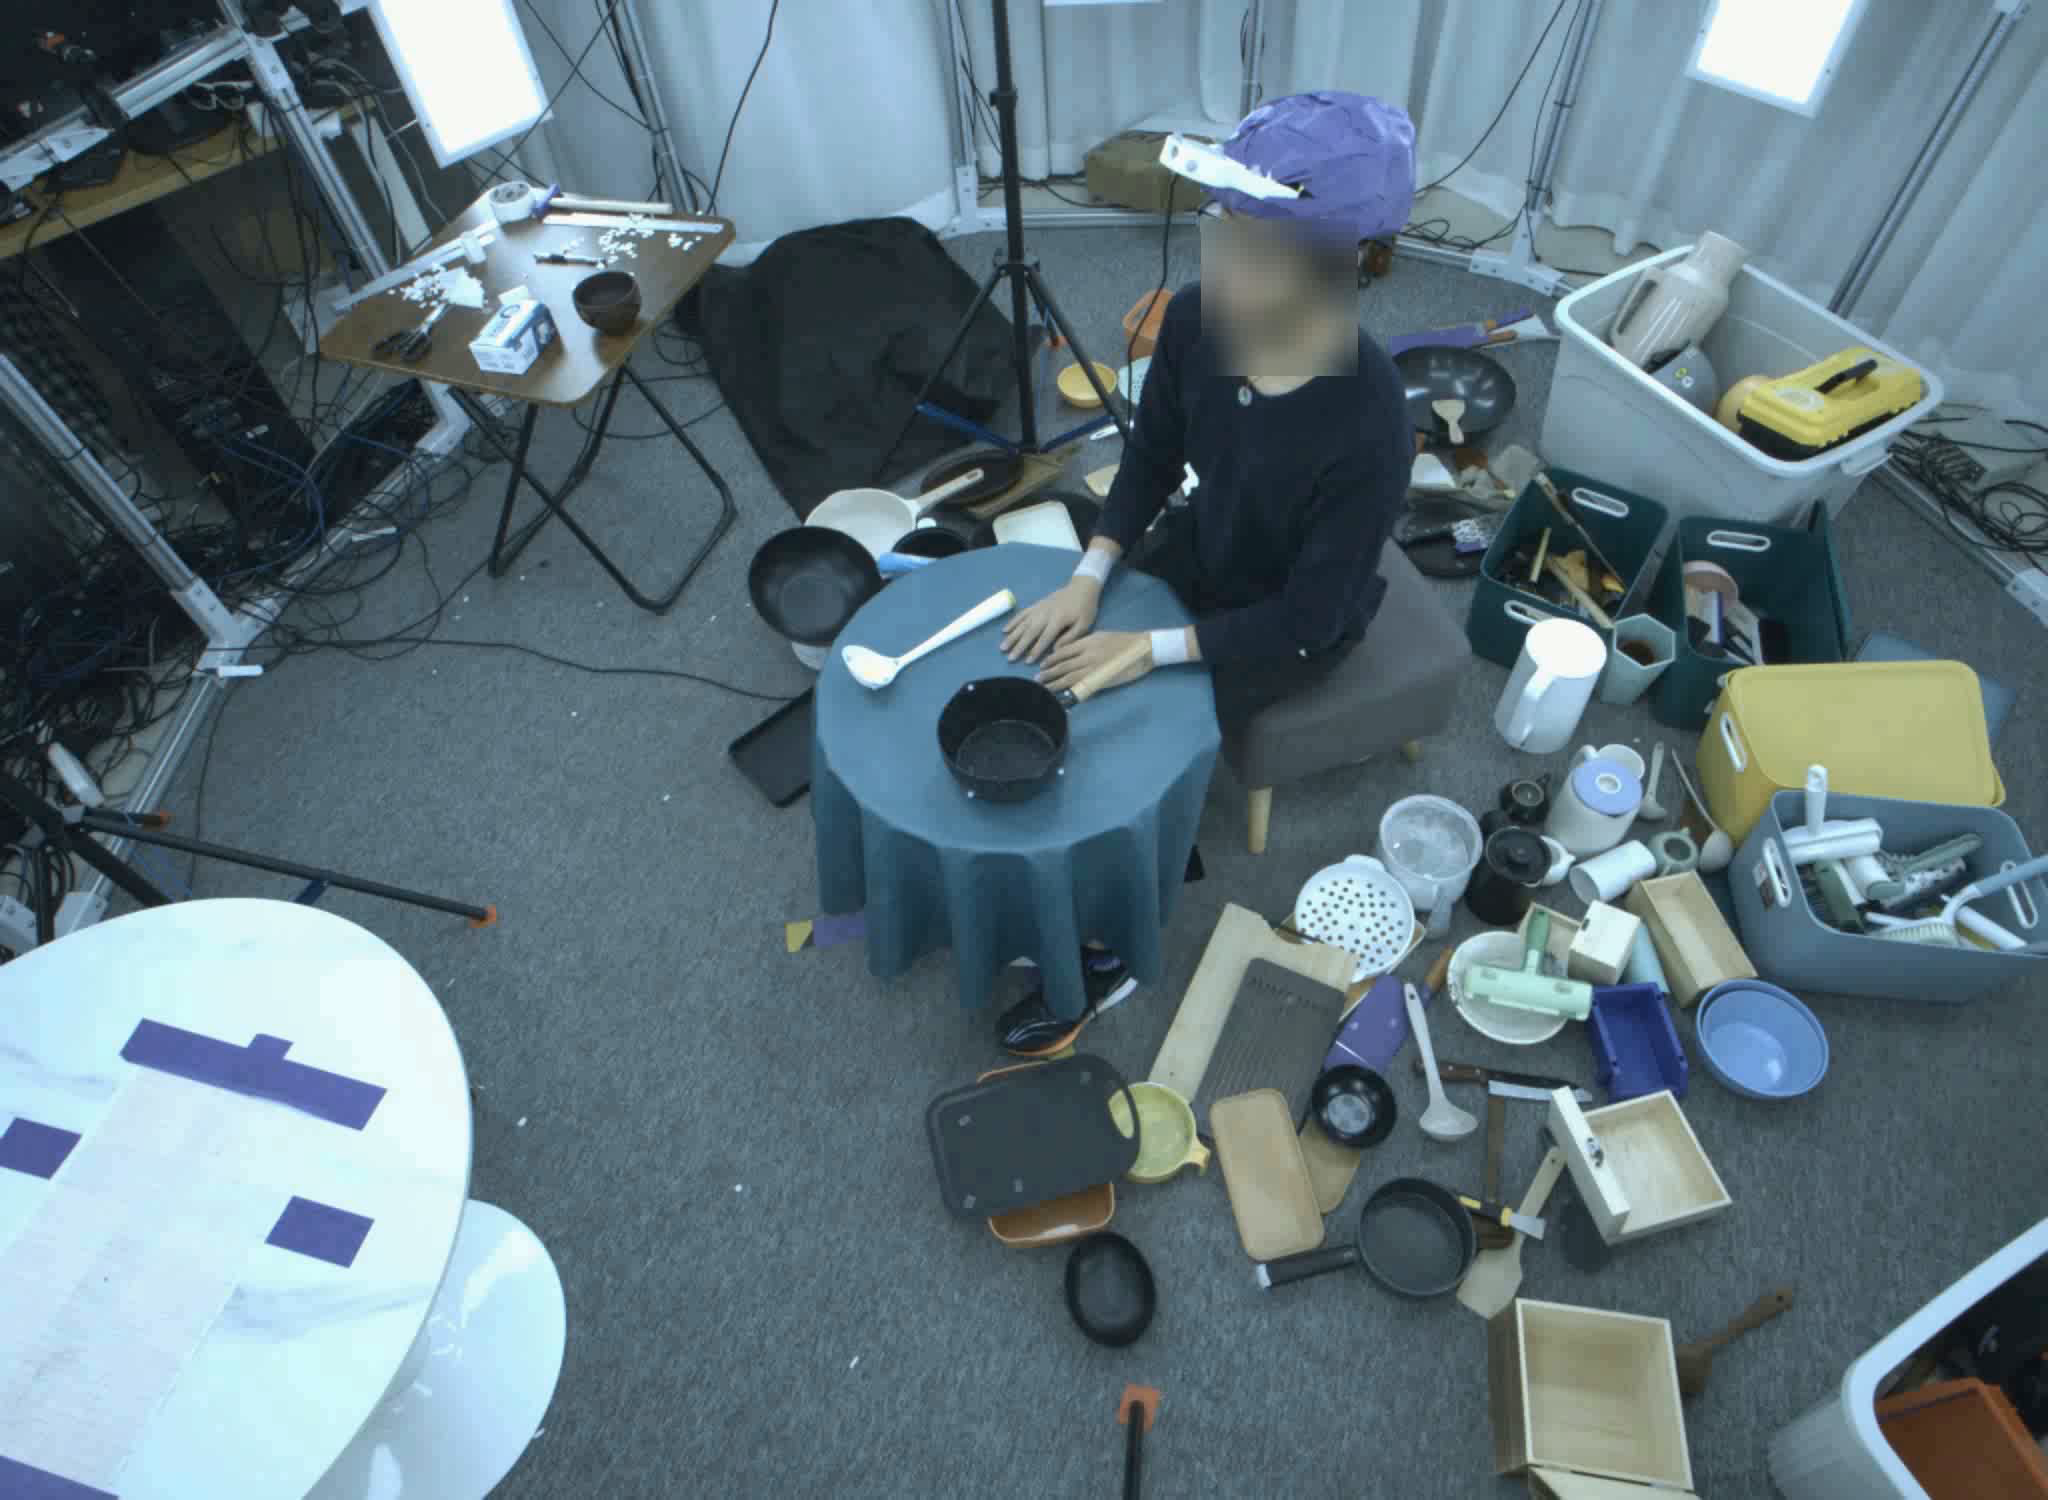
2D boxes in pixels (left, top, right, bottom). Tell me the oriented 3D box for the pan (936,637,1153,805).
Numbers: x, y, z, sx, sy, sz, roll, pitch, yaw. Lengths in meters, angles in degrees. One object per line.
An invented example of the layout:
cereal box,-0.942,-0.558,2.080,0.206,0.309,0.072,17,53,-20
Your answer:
pan,0.038,-0.052,1.756,0.345,0.109,0.203,-30,58,-16

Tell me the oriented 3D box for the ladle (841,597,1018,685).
ladle,-0.141,-0.177,1.885,0.295,0.071,0.088,-27,53,-19
